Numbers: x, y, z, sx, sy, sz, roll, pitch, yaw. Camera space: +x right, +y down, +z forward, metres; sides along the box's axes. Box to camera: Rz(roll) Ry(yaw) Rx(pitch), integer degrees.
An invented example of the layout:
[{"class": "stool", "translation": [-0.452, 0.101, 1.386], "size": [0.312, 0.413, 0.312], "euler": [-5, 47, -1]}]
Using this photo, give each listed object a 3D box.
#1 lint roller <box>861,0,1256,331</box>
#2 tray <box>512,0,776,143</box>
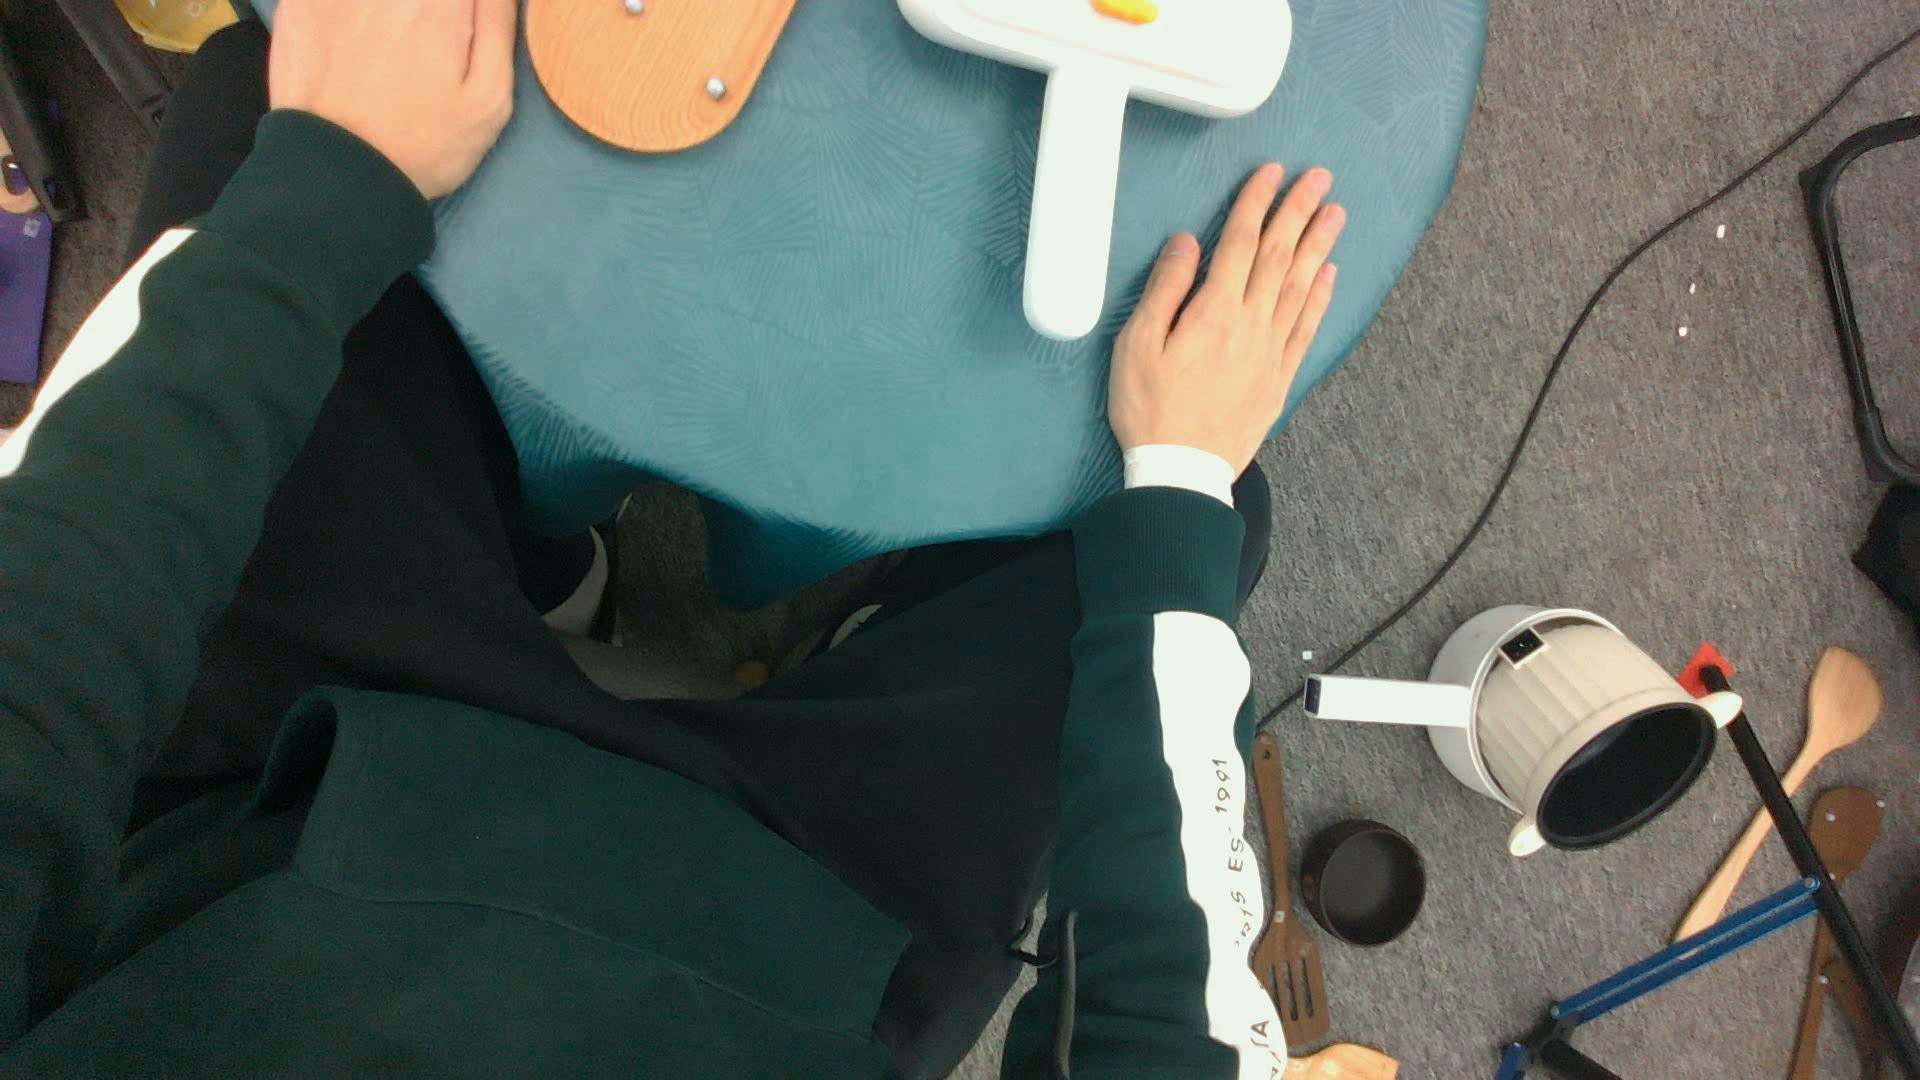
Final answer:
[{"class": "lint roller", "translation": [0.045, -0.195, 0.644], "size": [0.193, 0.074, 0.192], "euler": [3, 99, -24]}, {"class": "tray", "translation": [-0.119, -0.287, 0.616], "size": [0.102, 0.020, 0.231], "euler": [25, 86, -17]}]
